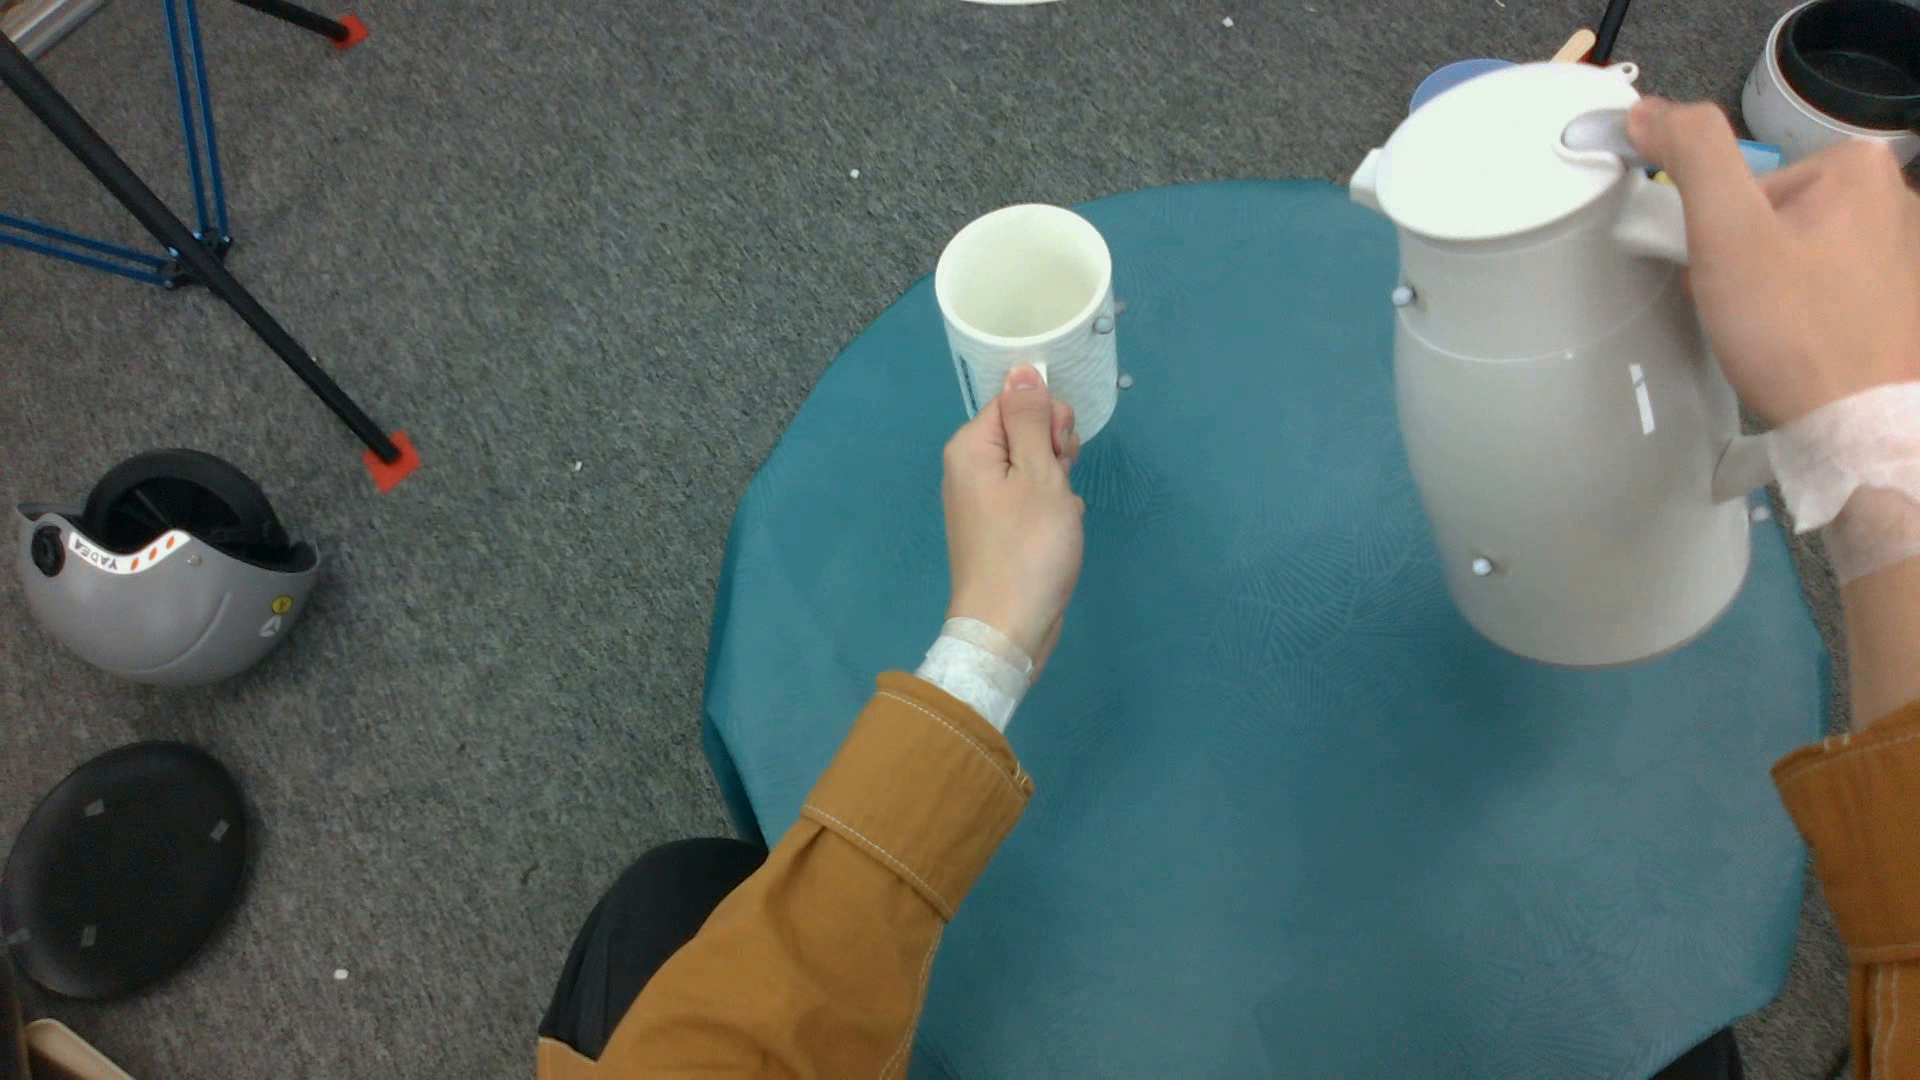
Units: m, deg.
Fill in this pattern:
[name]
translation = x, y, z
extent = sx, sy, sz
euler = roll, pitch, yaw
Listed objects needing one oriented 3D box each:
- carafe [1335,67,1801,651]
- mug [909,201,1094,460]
[carafe]
translation = 0.254, -0.070, 0.570
extent = 0.167, 0.248, 0.133
euler = 21, 66, 40
[mug]
translation = 0.026, -0.094, 0.701
extent = 0.085, 0.101, 0.119
euler = -8, 59, 6
